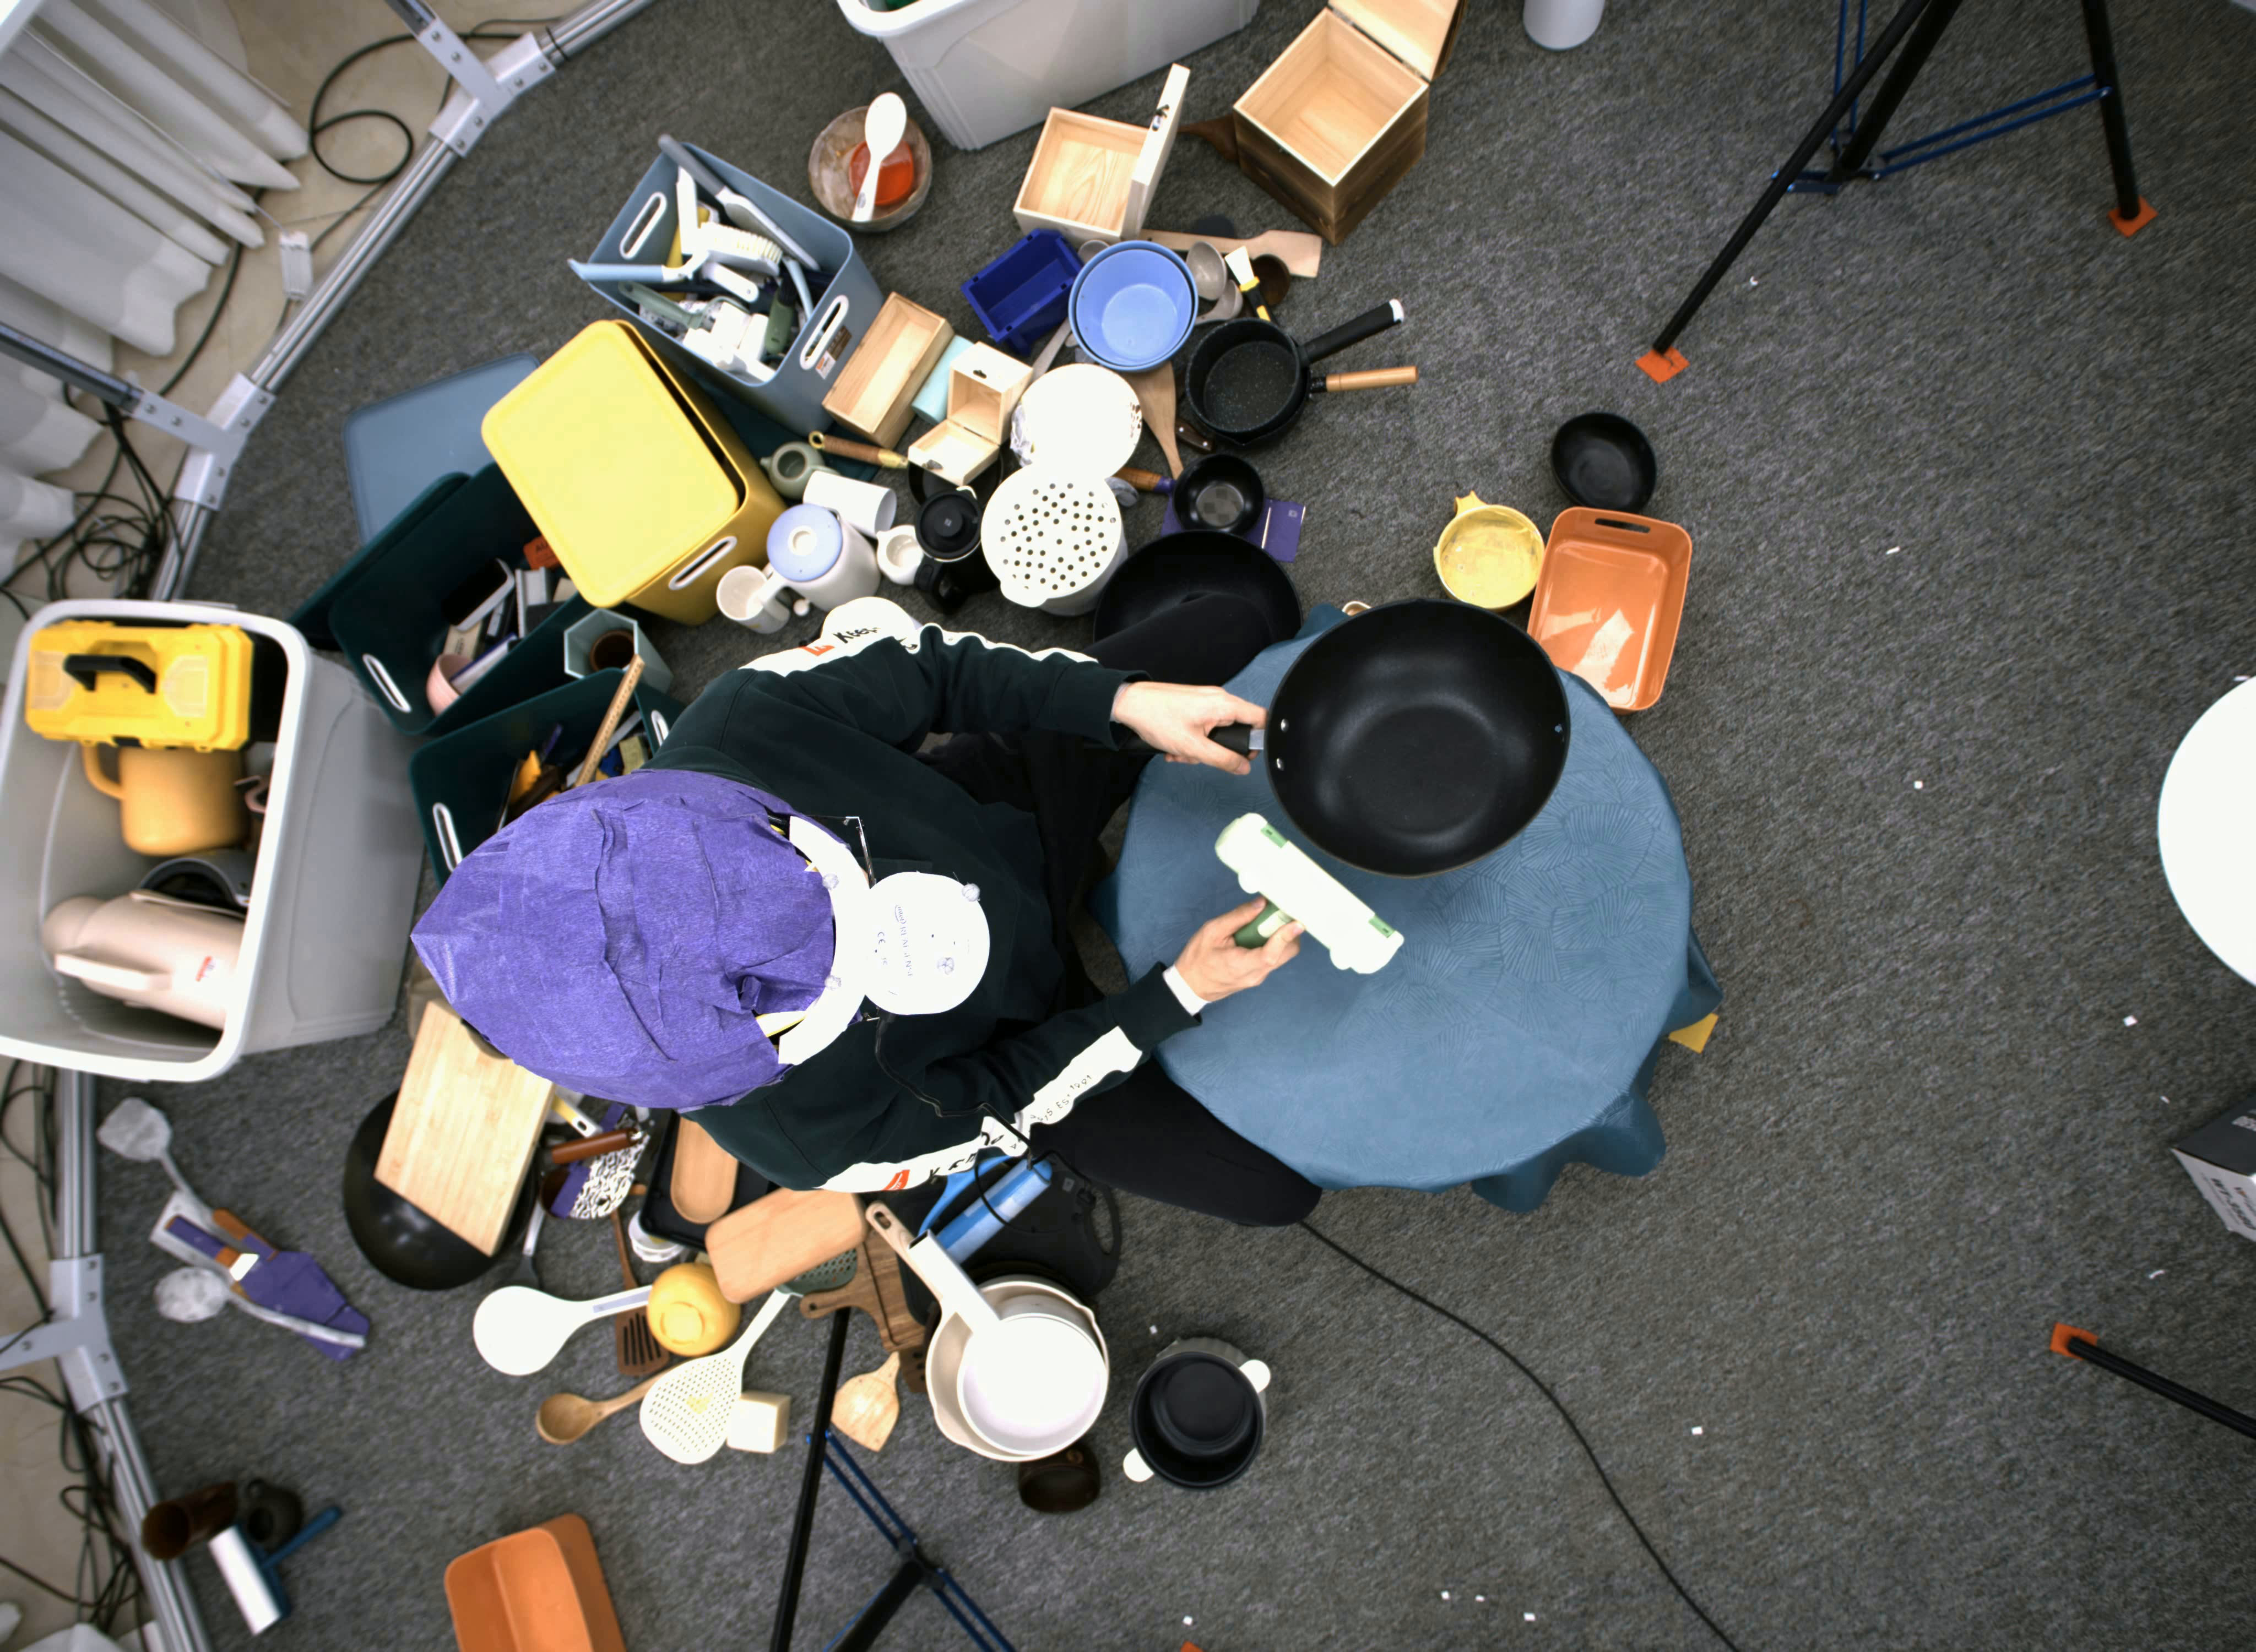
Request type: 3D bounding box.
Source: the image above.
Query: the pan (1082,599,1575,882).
[{"bbox_3d":[0.184,-0.070,1.309,0.466,0.088,0.283,-1,69,20],"label":"pan"}]

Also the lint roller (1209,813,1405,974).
[{"bbox_3d":[0.135,0.101,1.336,0.199,0.080,0.187,39,123,-10],"label":"lint roller"}]
